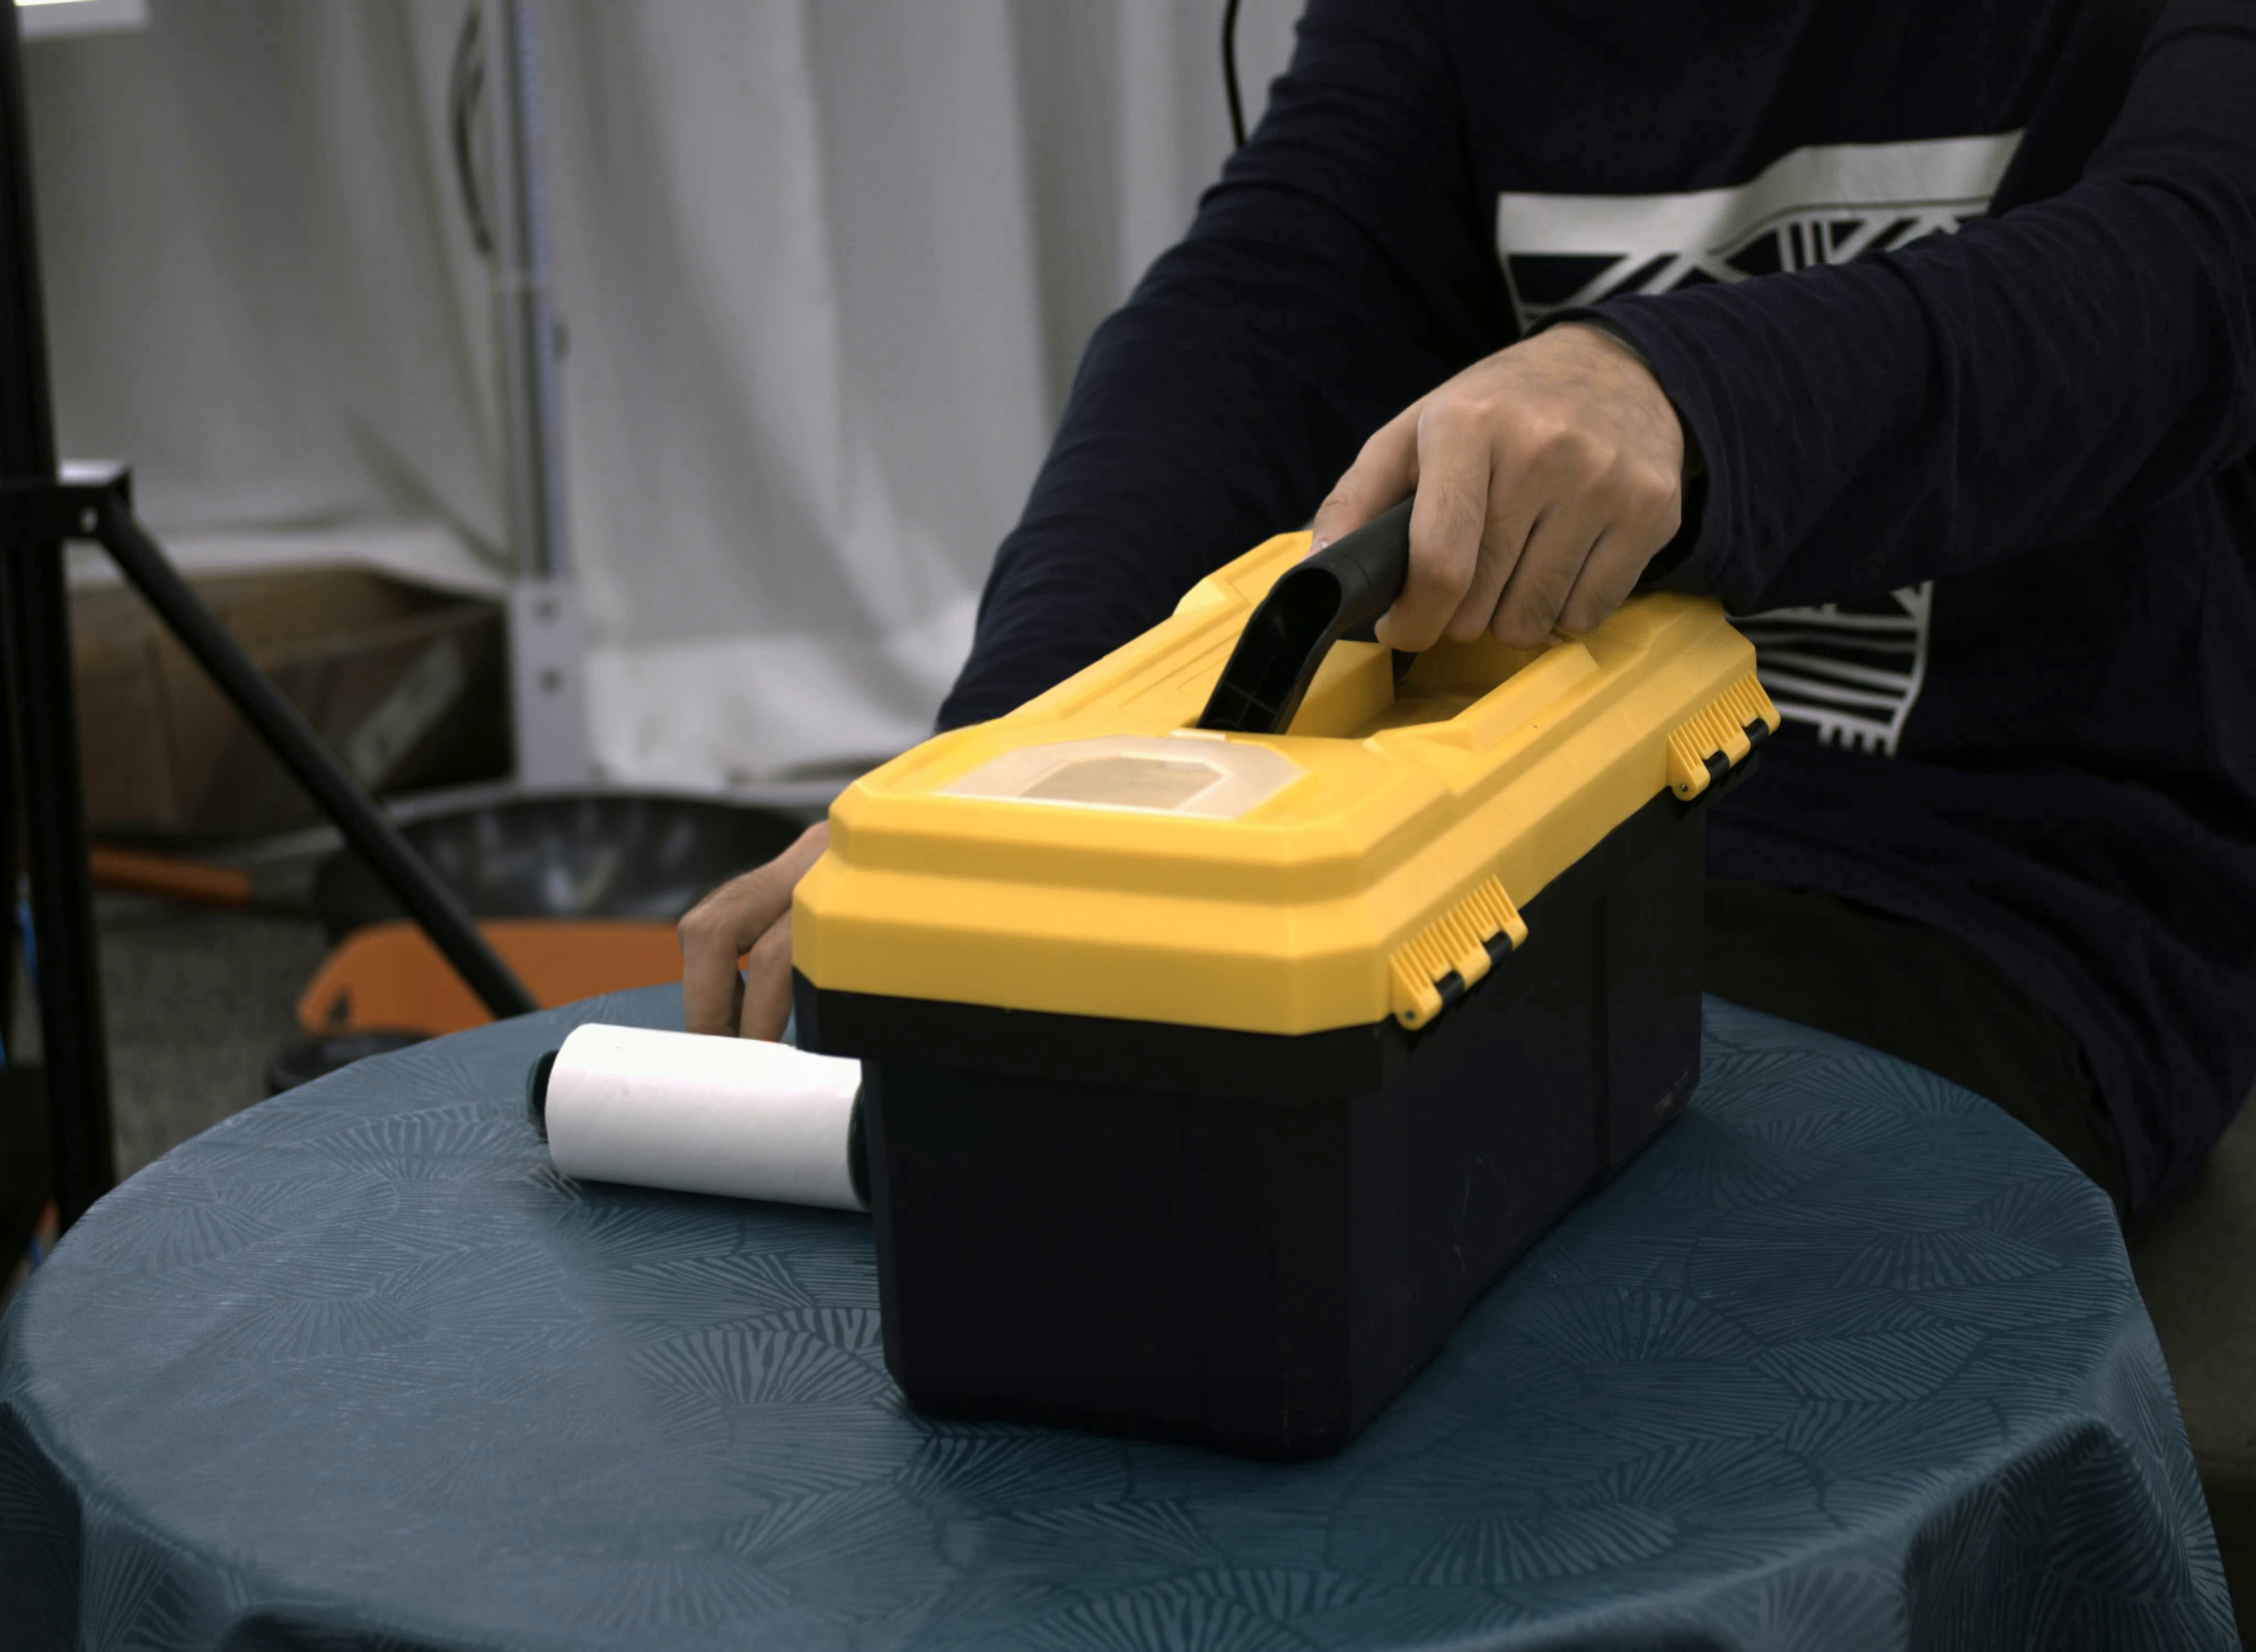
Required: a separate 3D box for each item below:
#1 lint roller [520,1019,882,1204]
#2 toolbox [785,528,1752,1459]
[{"bbox_3d":[-0.093,0.072,1.632,0.136,0.048,0.177,3,13,23],"label":"lint roller"},{"bbox_3d":[0.050,0.037,1.490,0.184,0.173,0.346,5,17,23],"label":"toolbox"}]
